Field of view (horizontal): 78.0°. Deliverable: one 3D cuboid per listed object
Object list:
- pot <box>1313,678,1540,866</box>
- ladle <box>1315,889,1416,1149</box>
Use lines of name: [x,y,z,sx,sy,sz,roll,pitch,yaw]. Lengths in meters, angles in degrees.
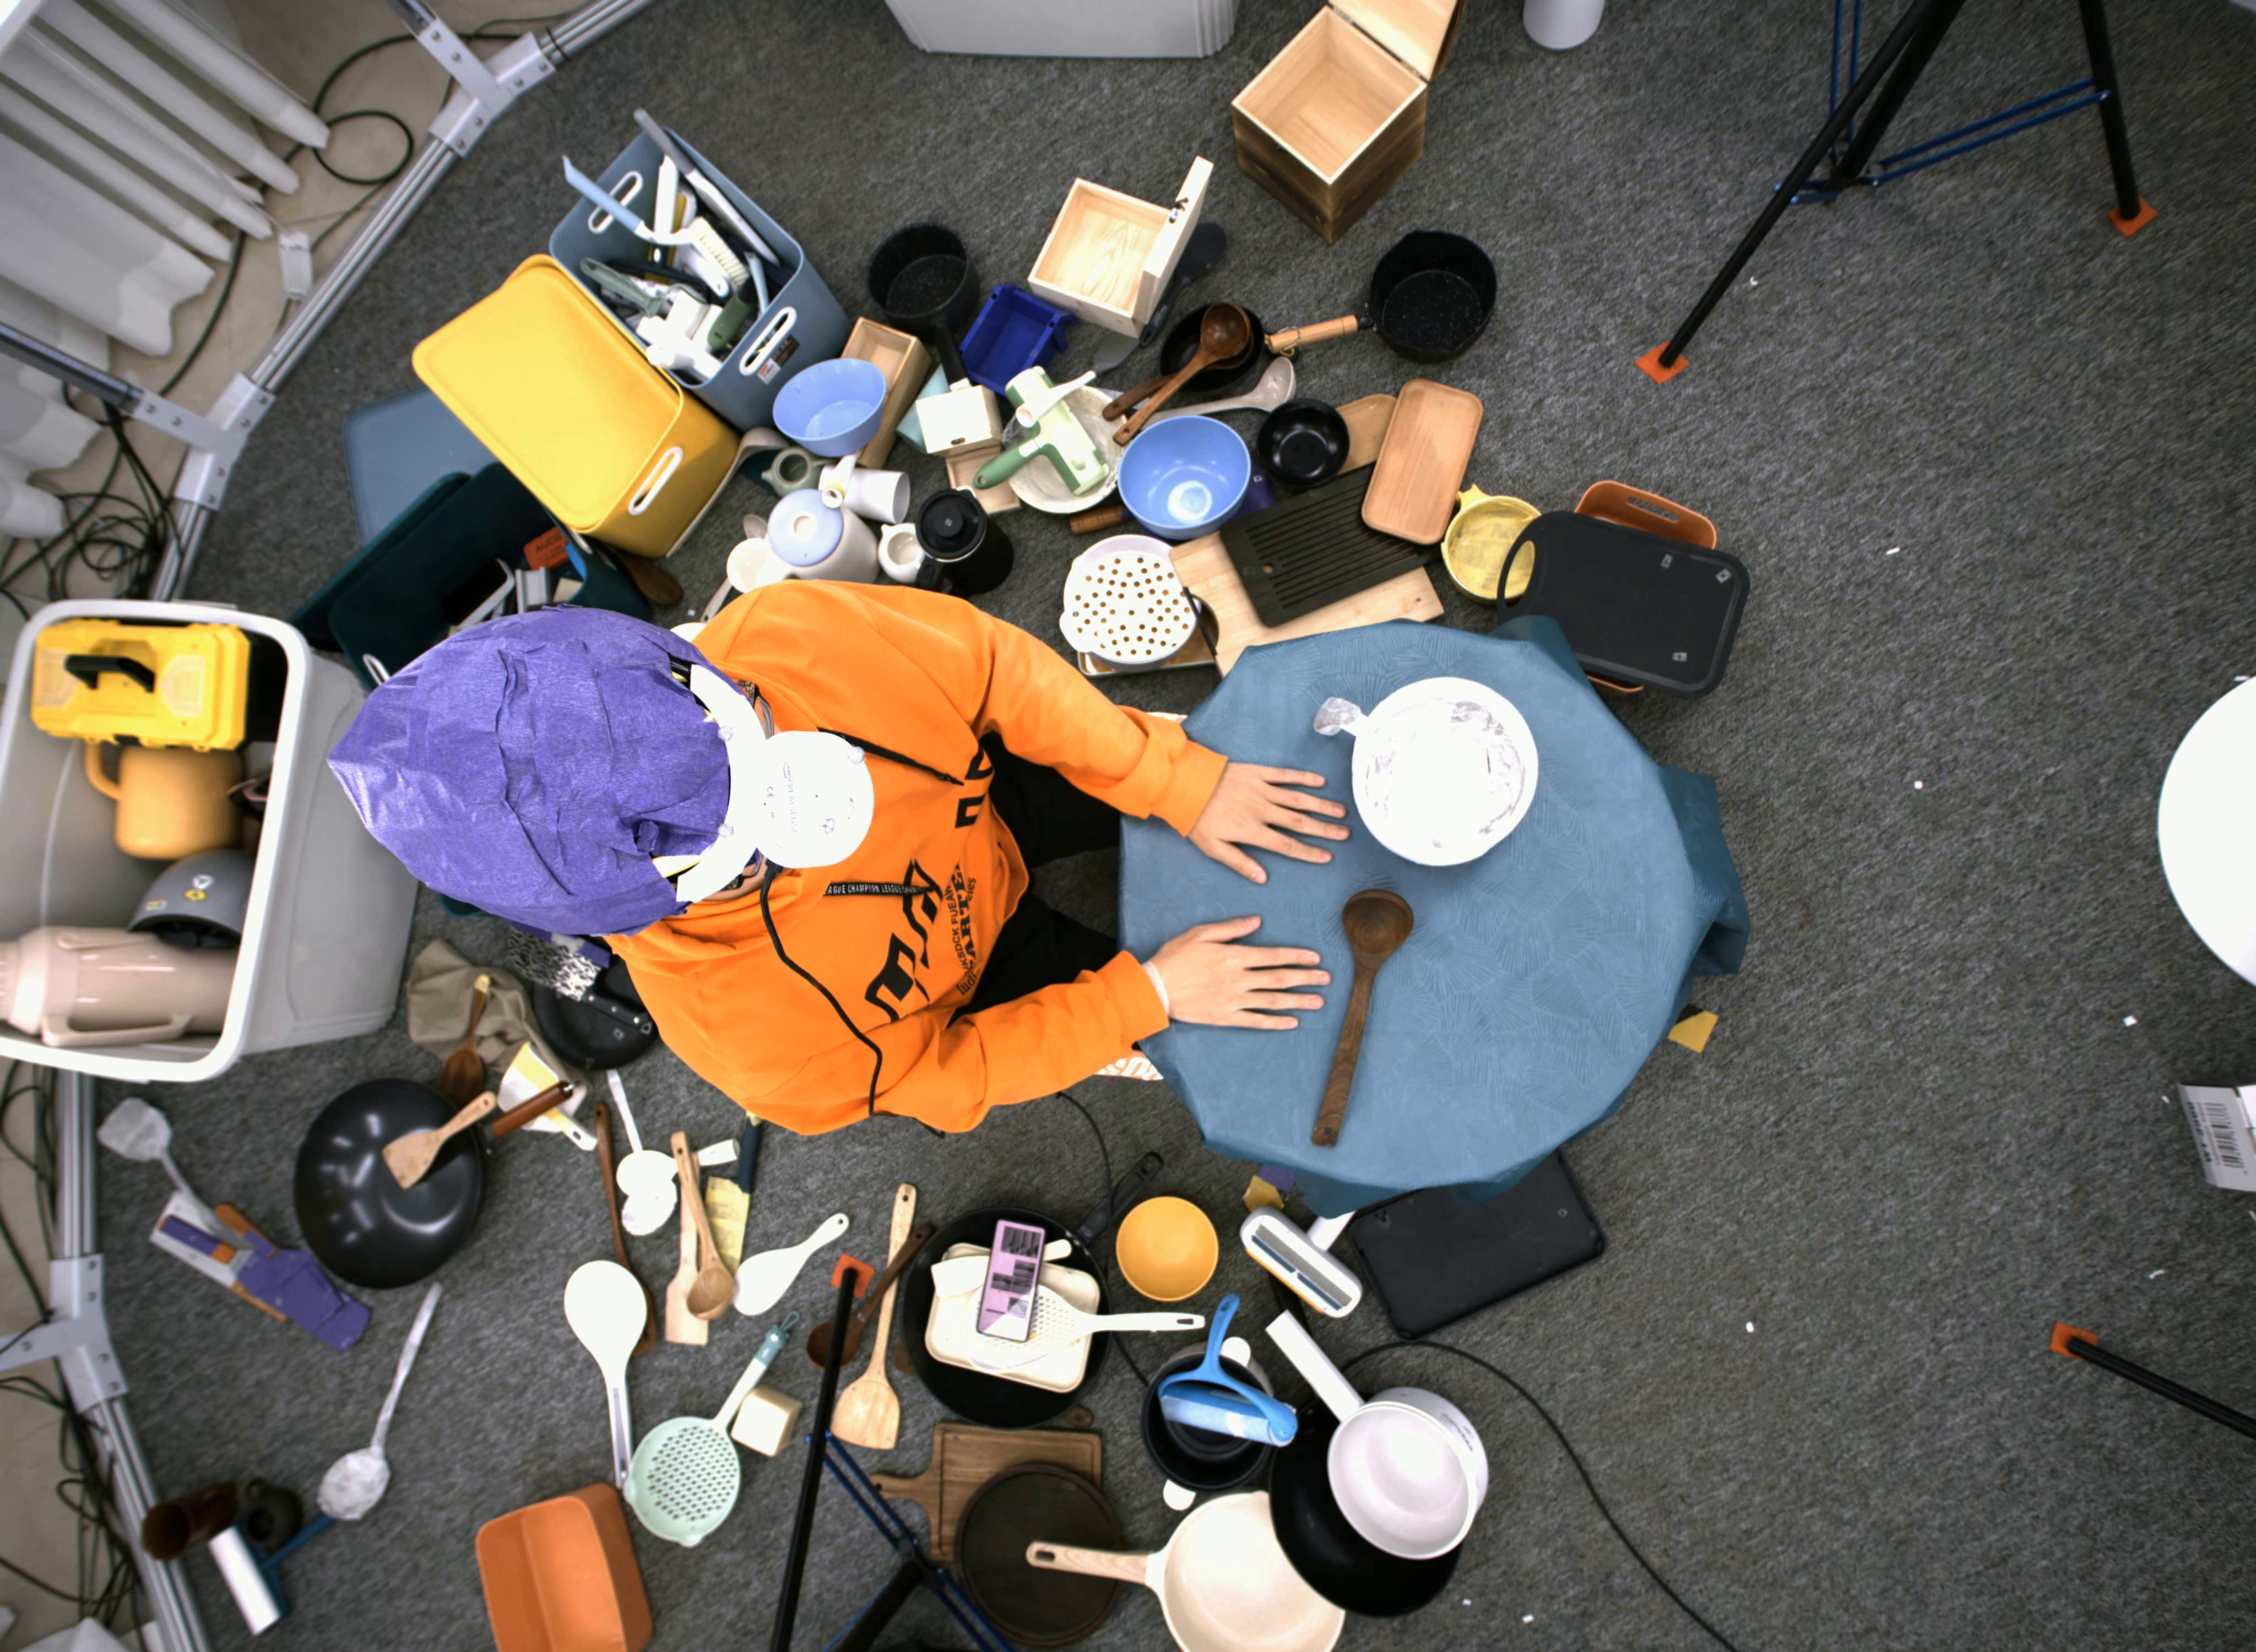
pot: [0.292,-0.065,1.393,0.233,0.137,0.179,30,91,10]
ladle: [0.234,0.199,1.424,0.076,0.071,0.273,14,89,14]
